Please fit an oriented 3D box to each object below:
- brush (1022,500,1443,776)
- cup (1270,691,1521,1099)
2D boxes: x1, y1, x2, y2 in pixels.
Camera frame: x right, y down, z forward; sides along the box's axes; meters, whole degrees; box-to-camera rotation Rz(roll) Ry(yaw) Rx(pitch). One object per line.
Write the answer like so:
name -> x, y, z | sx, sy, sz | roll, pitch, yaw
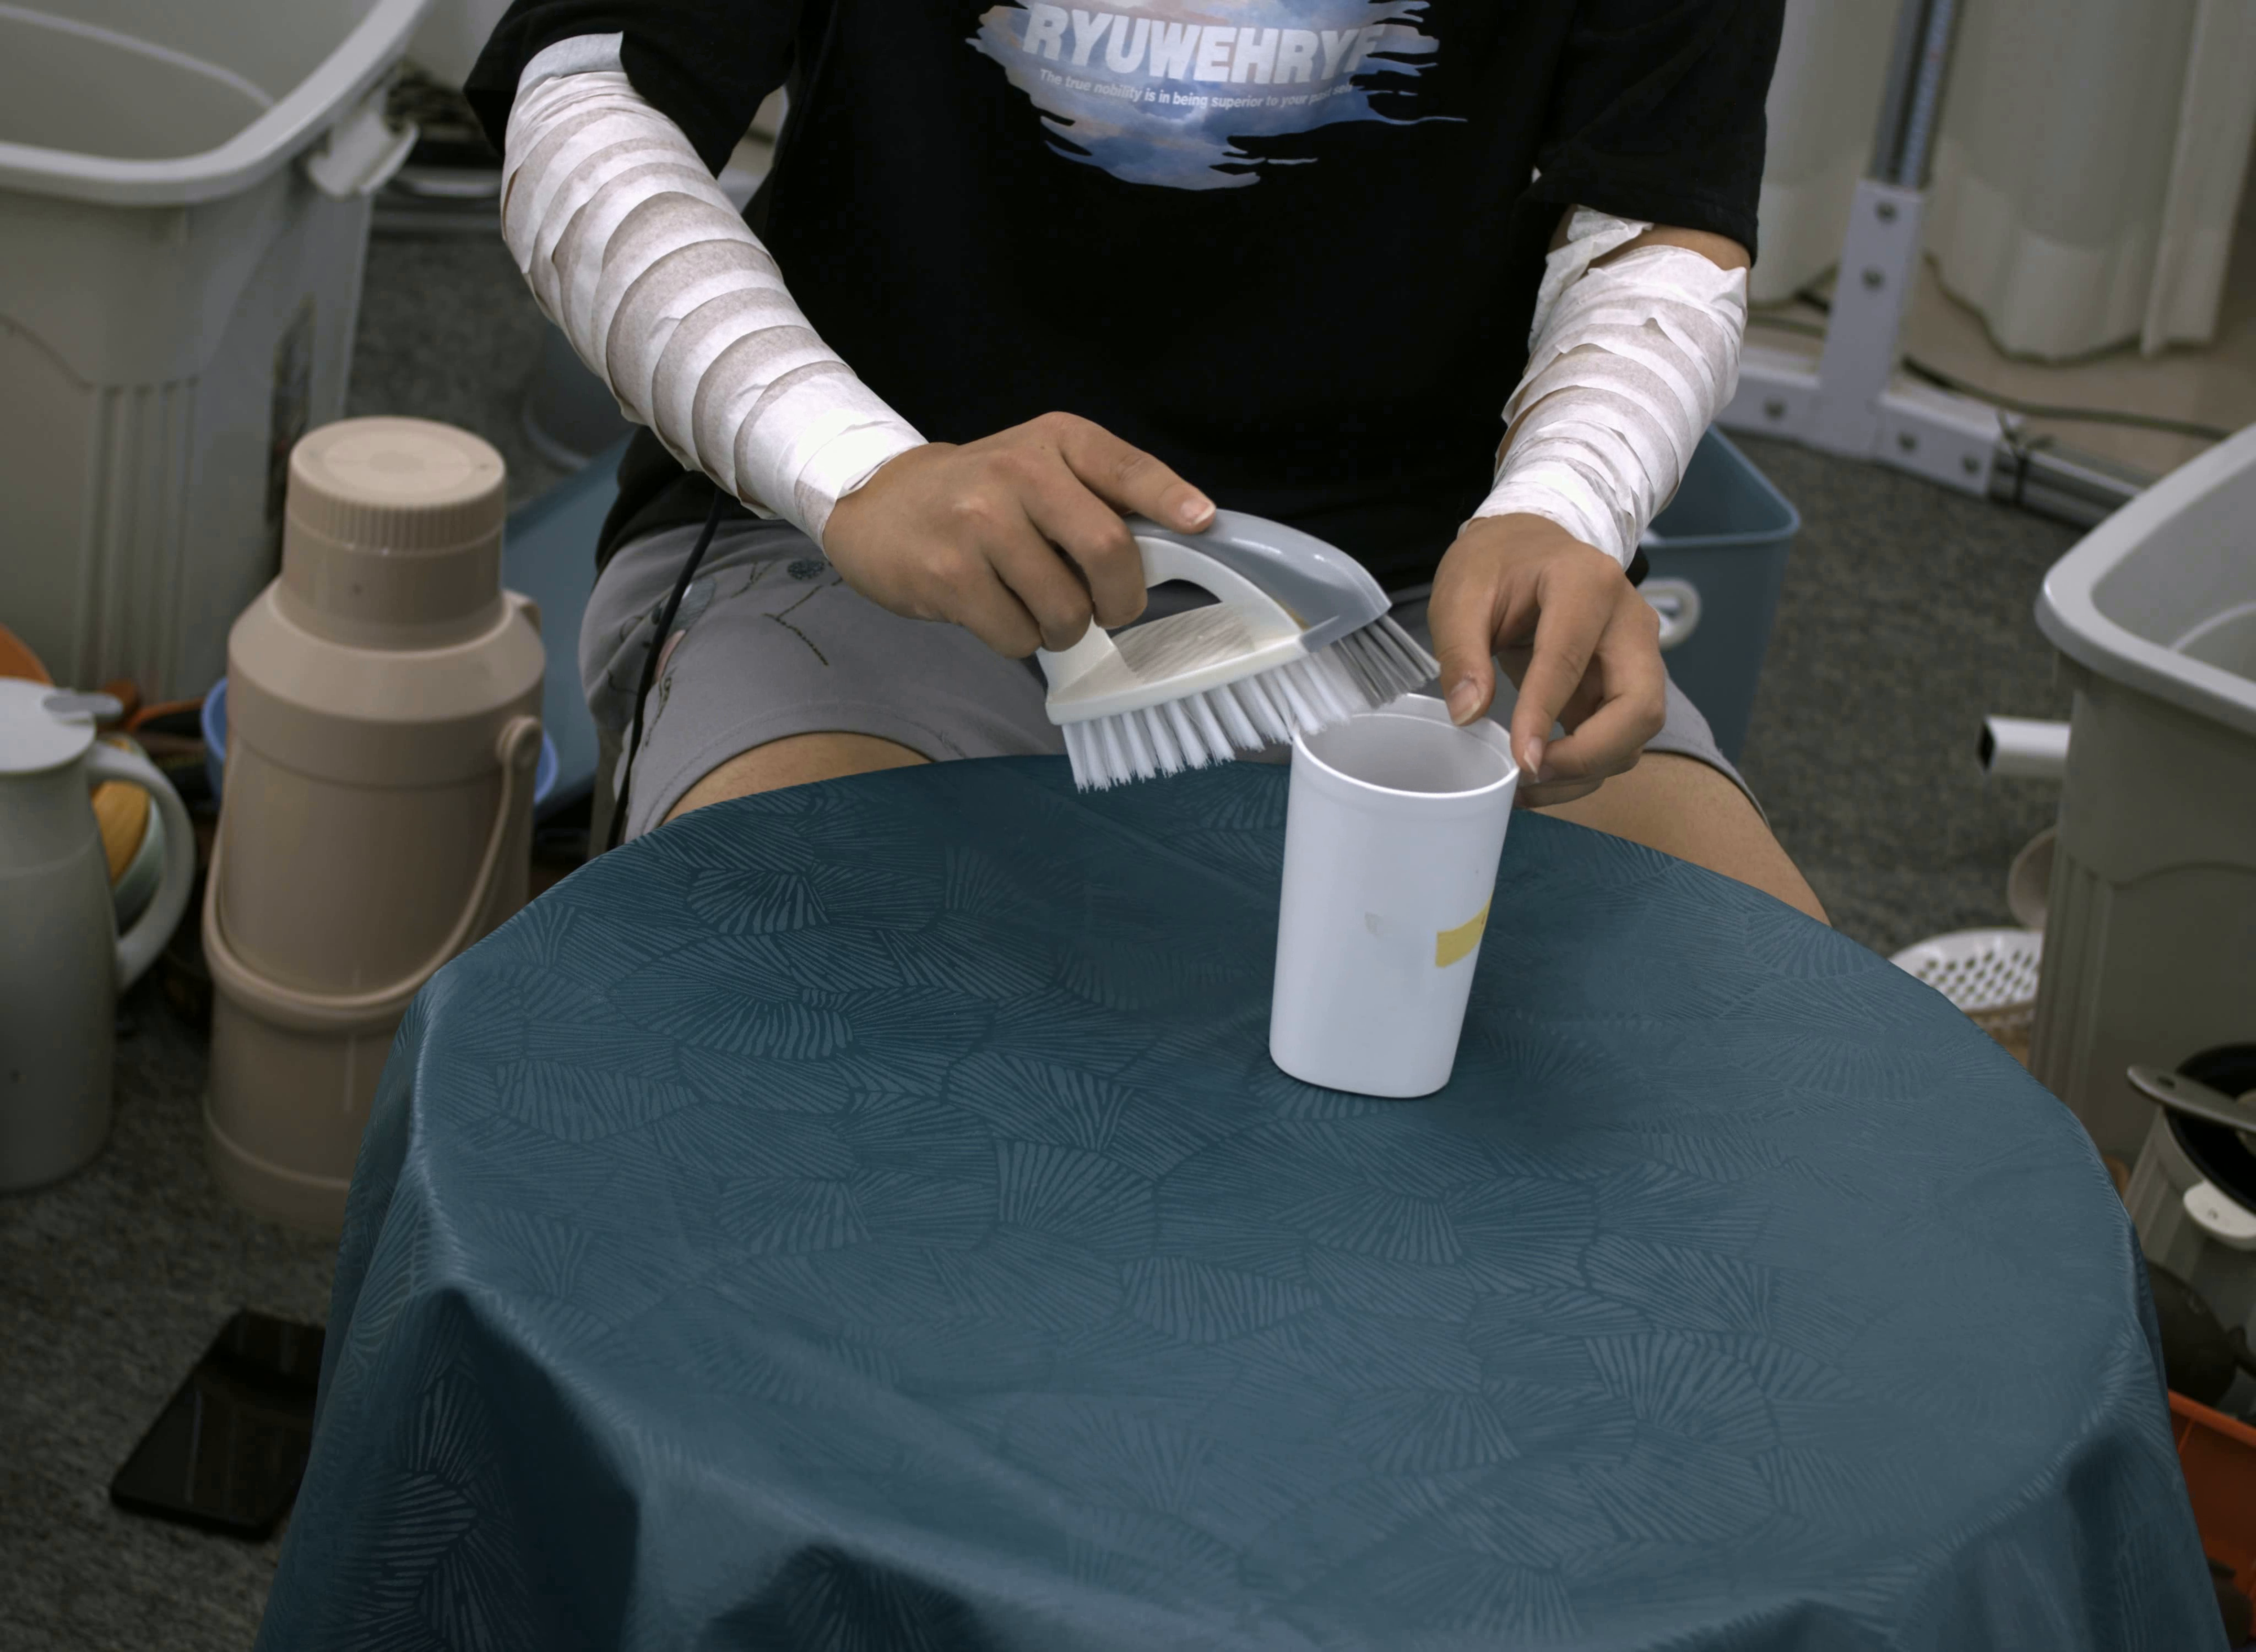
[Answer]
brush -> 0.030, -0.076, 1.883 | 0.176, 0.094, 0.061 | -9, 30, 49
cup -> 0.091, 0.026, 1.880 | 0.081, 0.125, 0.082 | 5, 27, -3
